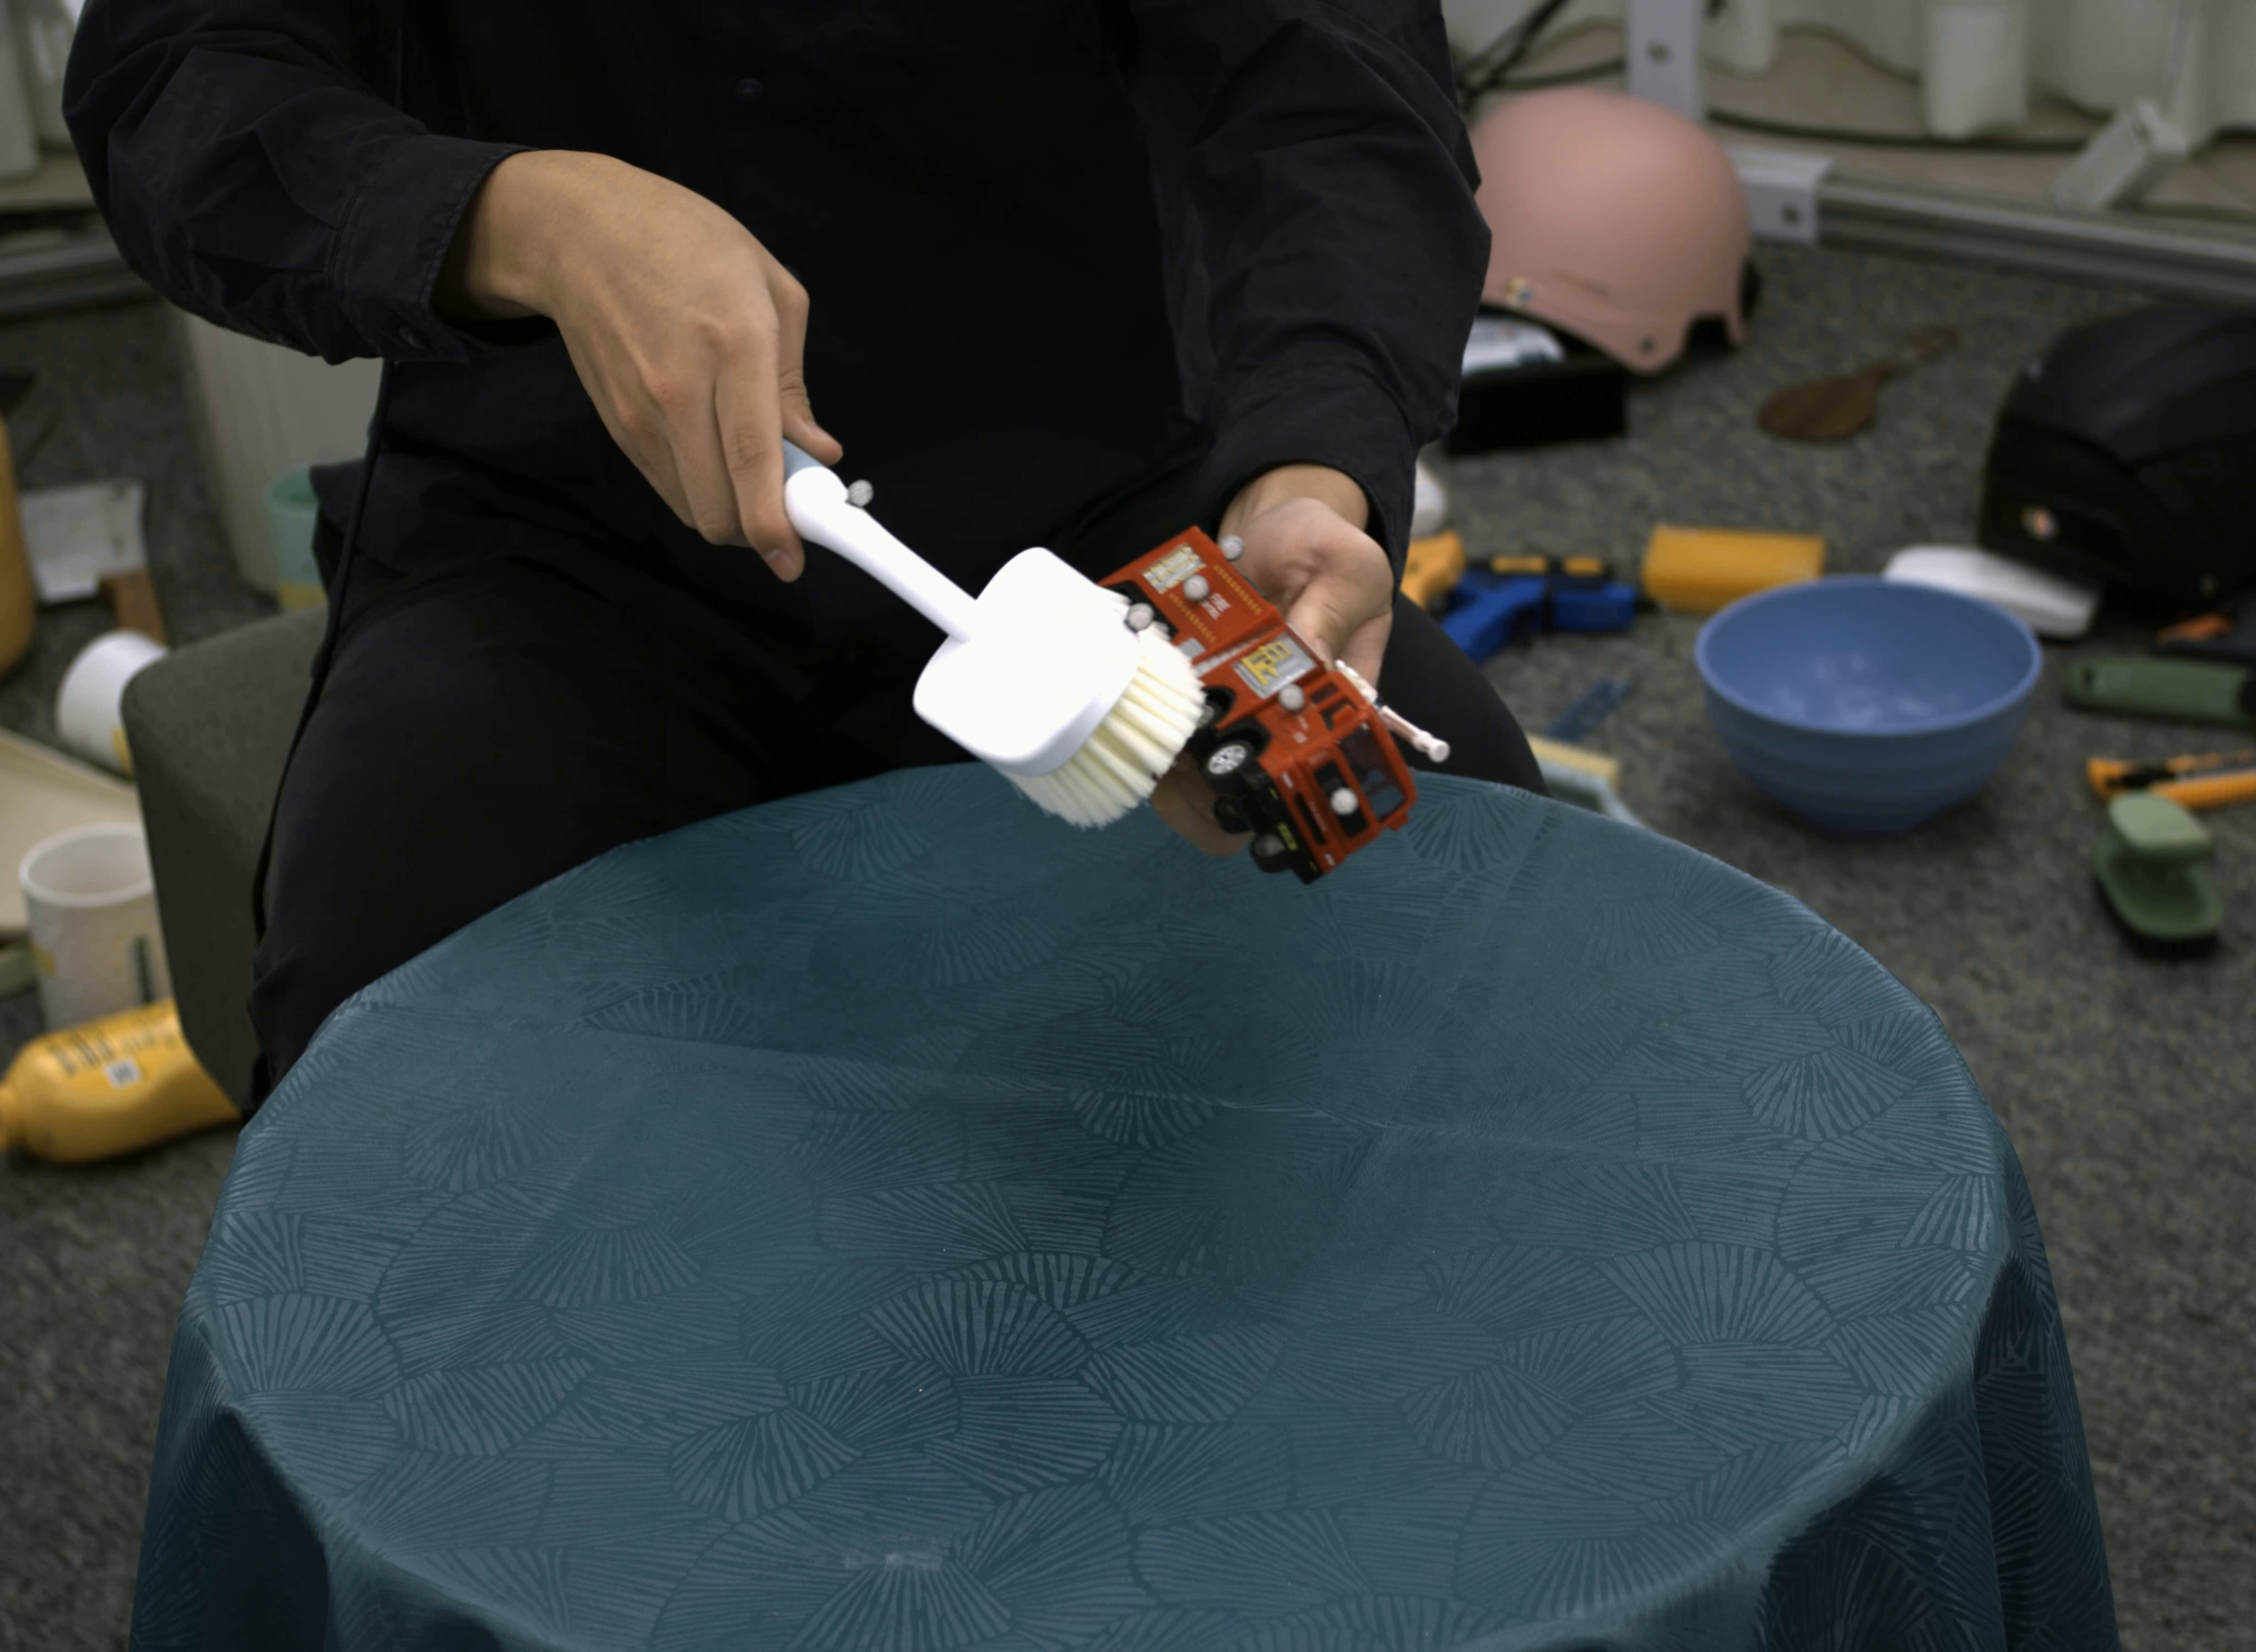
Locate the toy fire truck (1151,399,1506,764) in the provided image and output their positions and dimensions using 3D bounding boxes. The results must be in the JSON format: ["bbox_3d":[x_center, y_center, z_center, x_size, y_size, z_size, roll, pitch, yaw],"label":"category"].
[{"bbox_3d":[0.058,-0.080,1.791,0.070,0.053,0.169,-32,32,-6],"label":"toy fire truck"}]

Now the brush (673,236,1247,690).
[{"bbox_3d":[-0.048,-0.123,1.872,0.083,0.083,0.327,-23,33,-21],"label":"brush"}]
